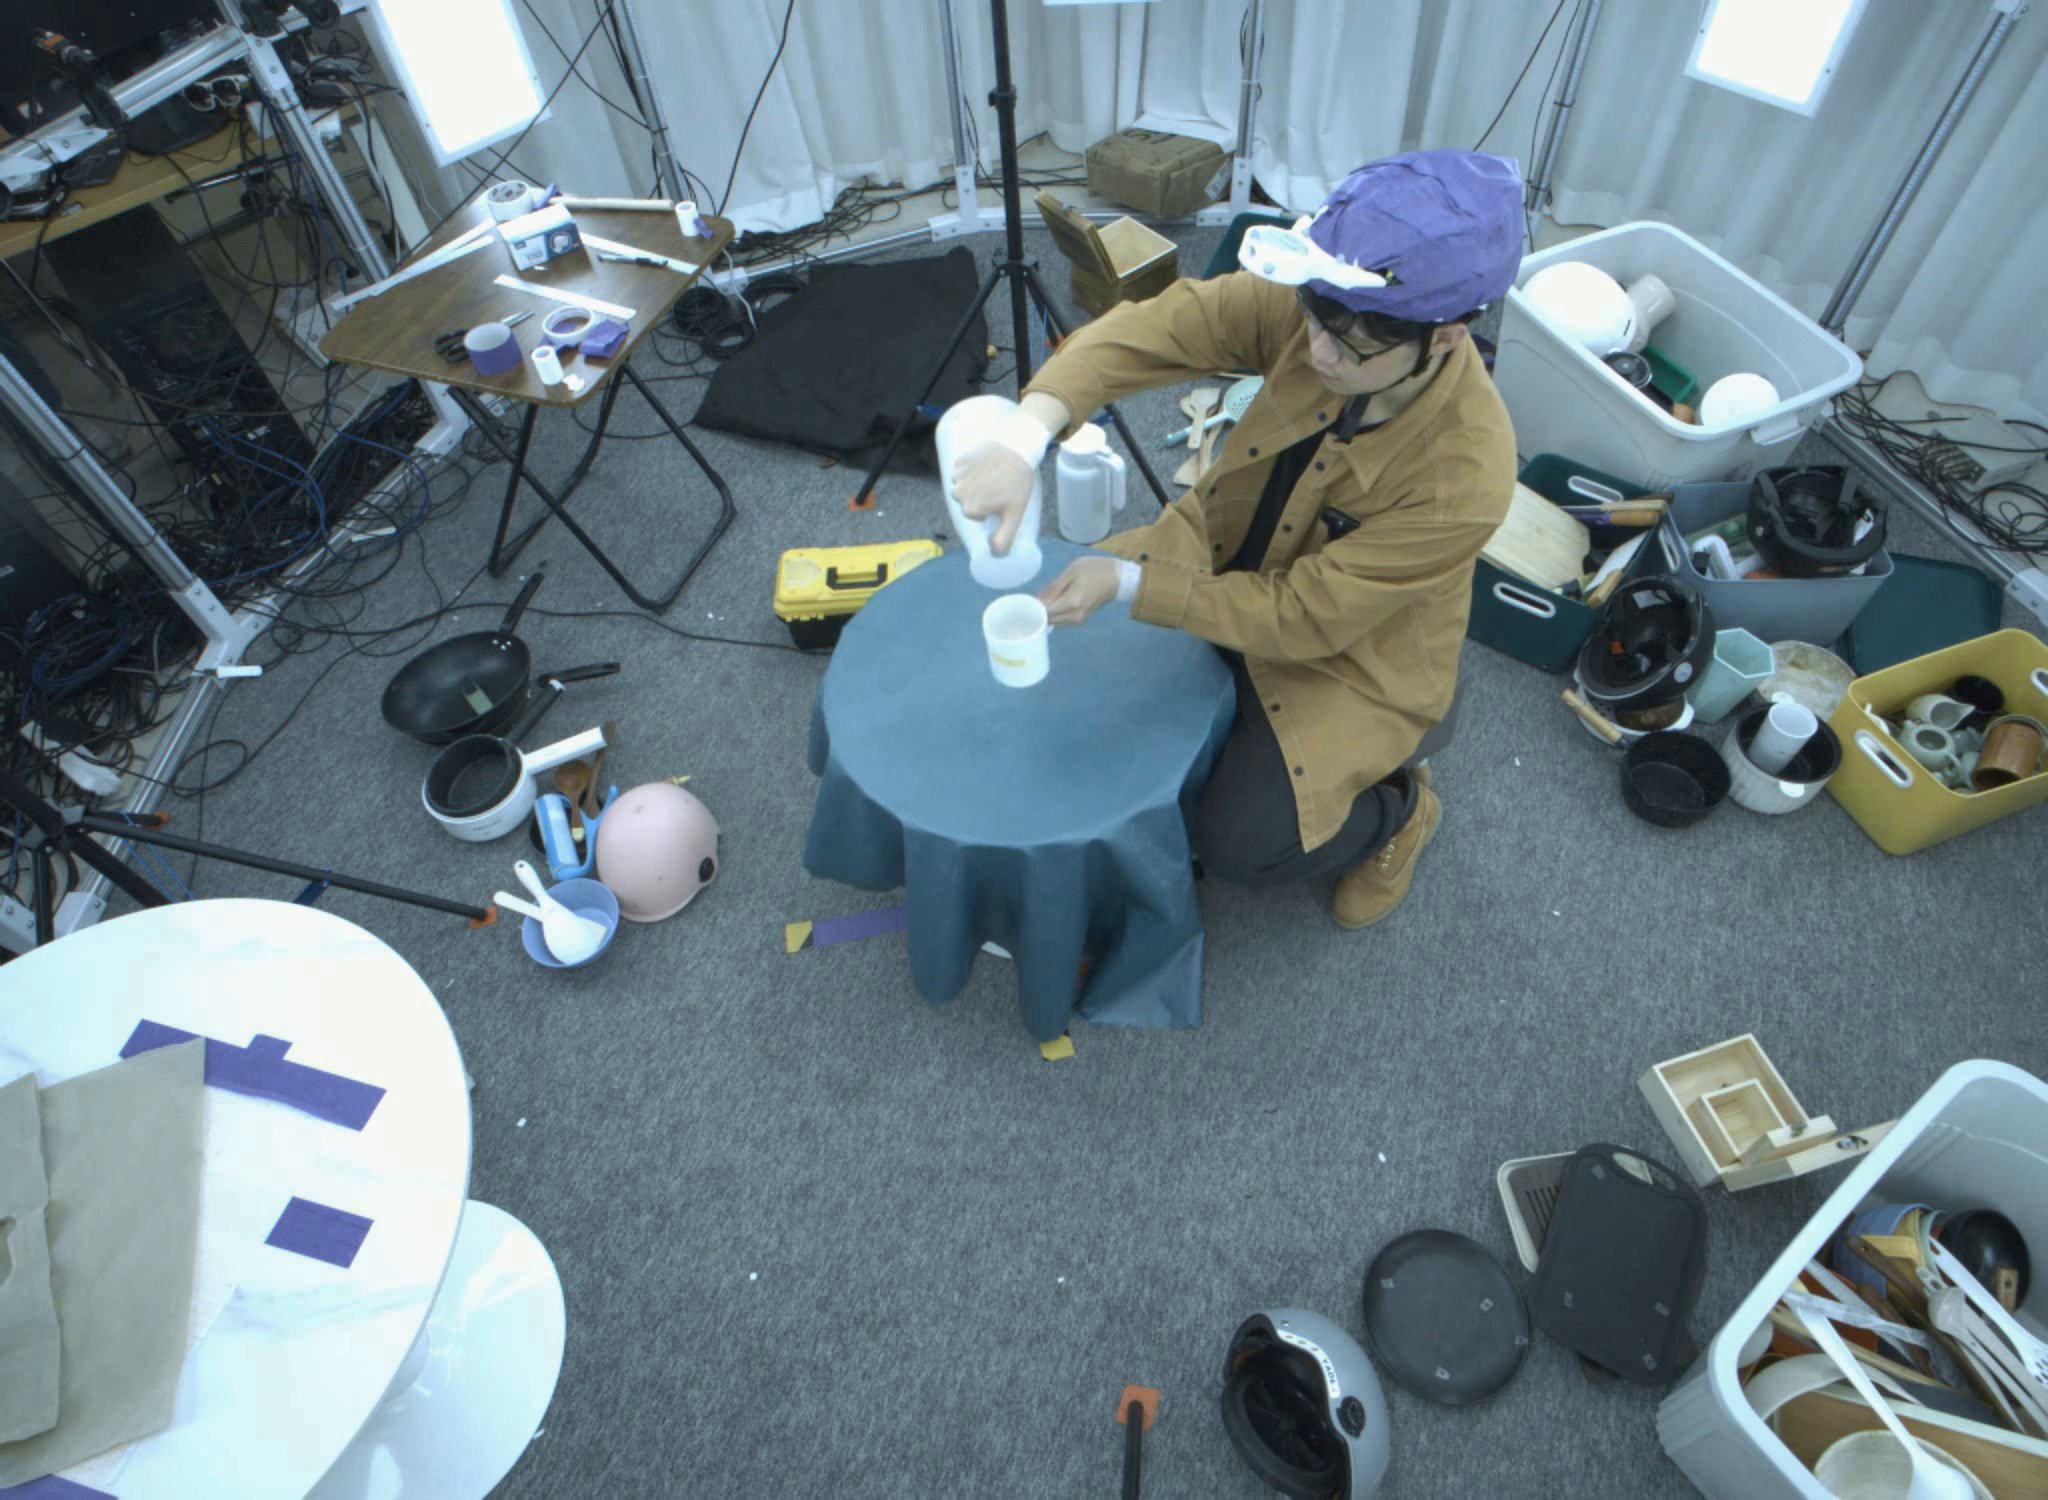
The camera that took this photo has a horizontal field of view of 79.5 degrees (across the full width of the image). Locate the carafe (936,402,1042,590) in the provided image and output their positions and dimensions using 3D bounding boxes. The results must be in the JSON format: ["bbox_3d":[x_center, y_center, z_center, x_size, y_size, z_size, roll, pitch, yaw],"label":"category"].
[{"bbox_3d":[-0.045,-0.336,1.570,0.132,0.170,0.245,-12,58,5],"label":"carafe"}]

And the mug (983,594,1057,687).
[{"bbox_3d":[0.001,-0.156,1.670,0.083,0.103,0.119,33,64,23],"label":"mug"}]
